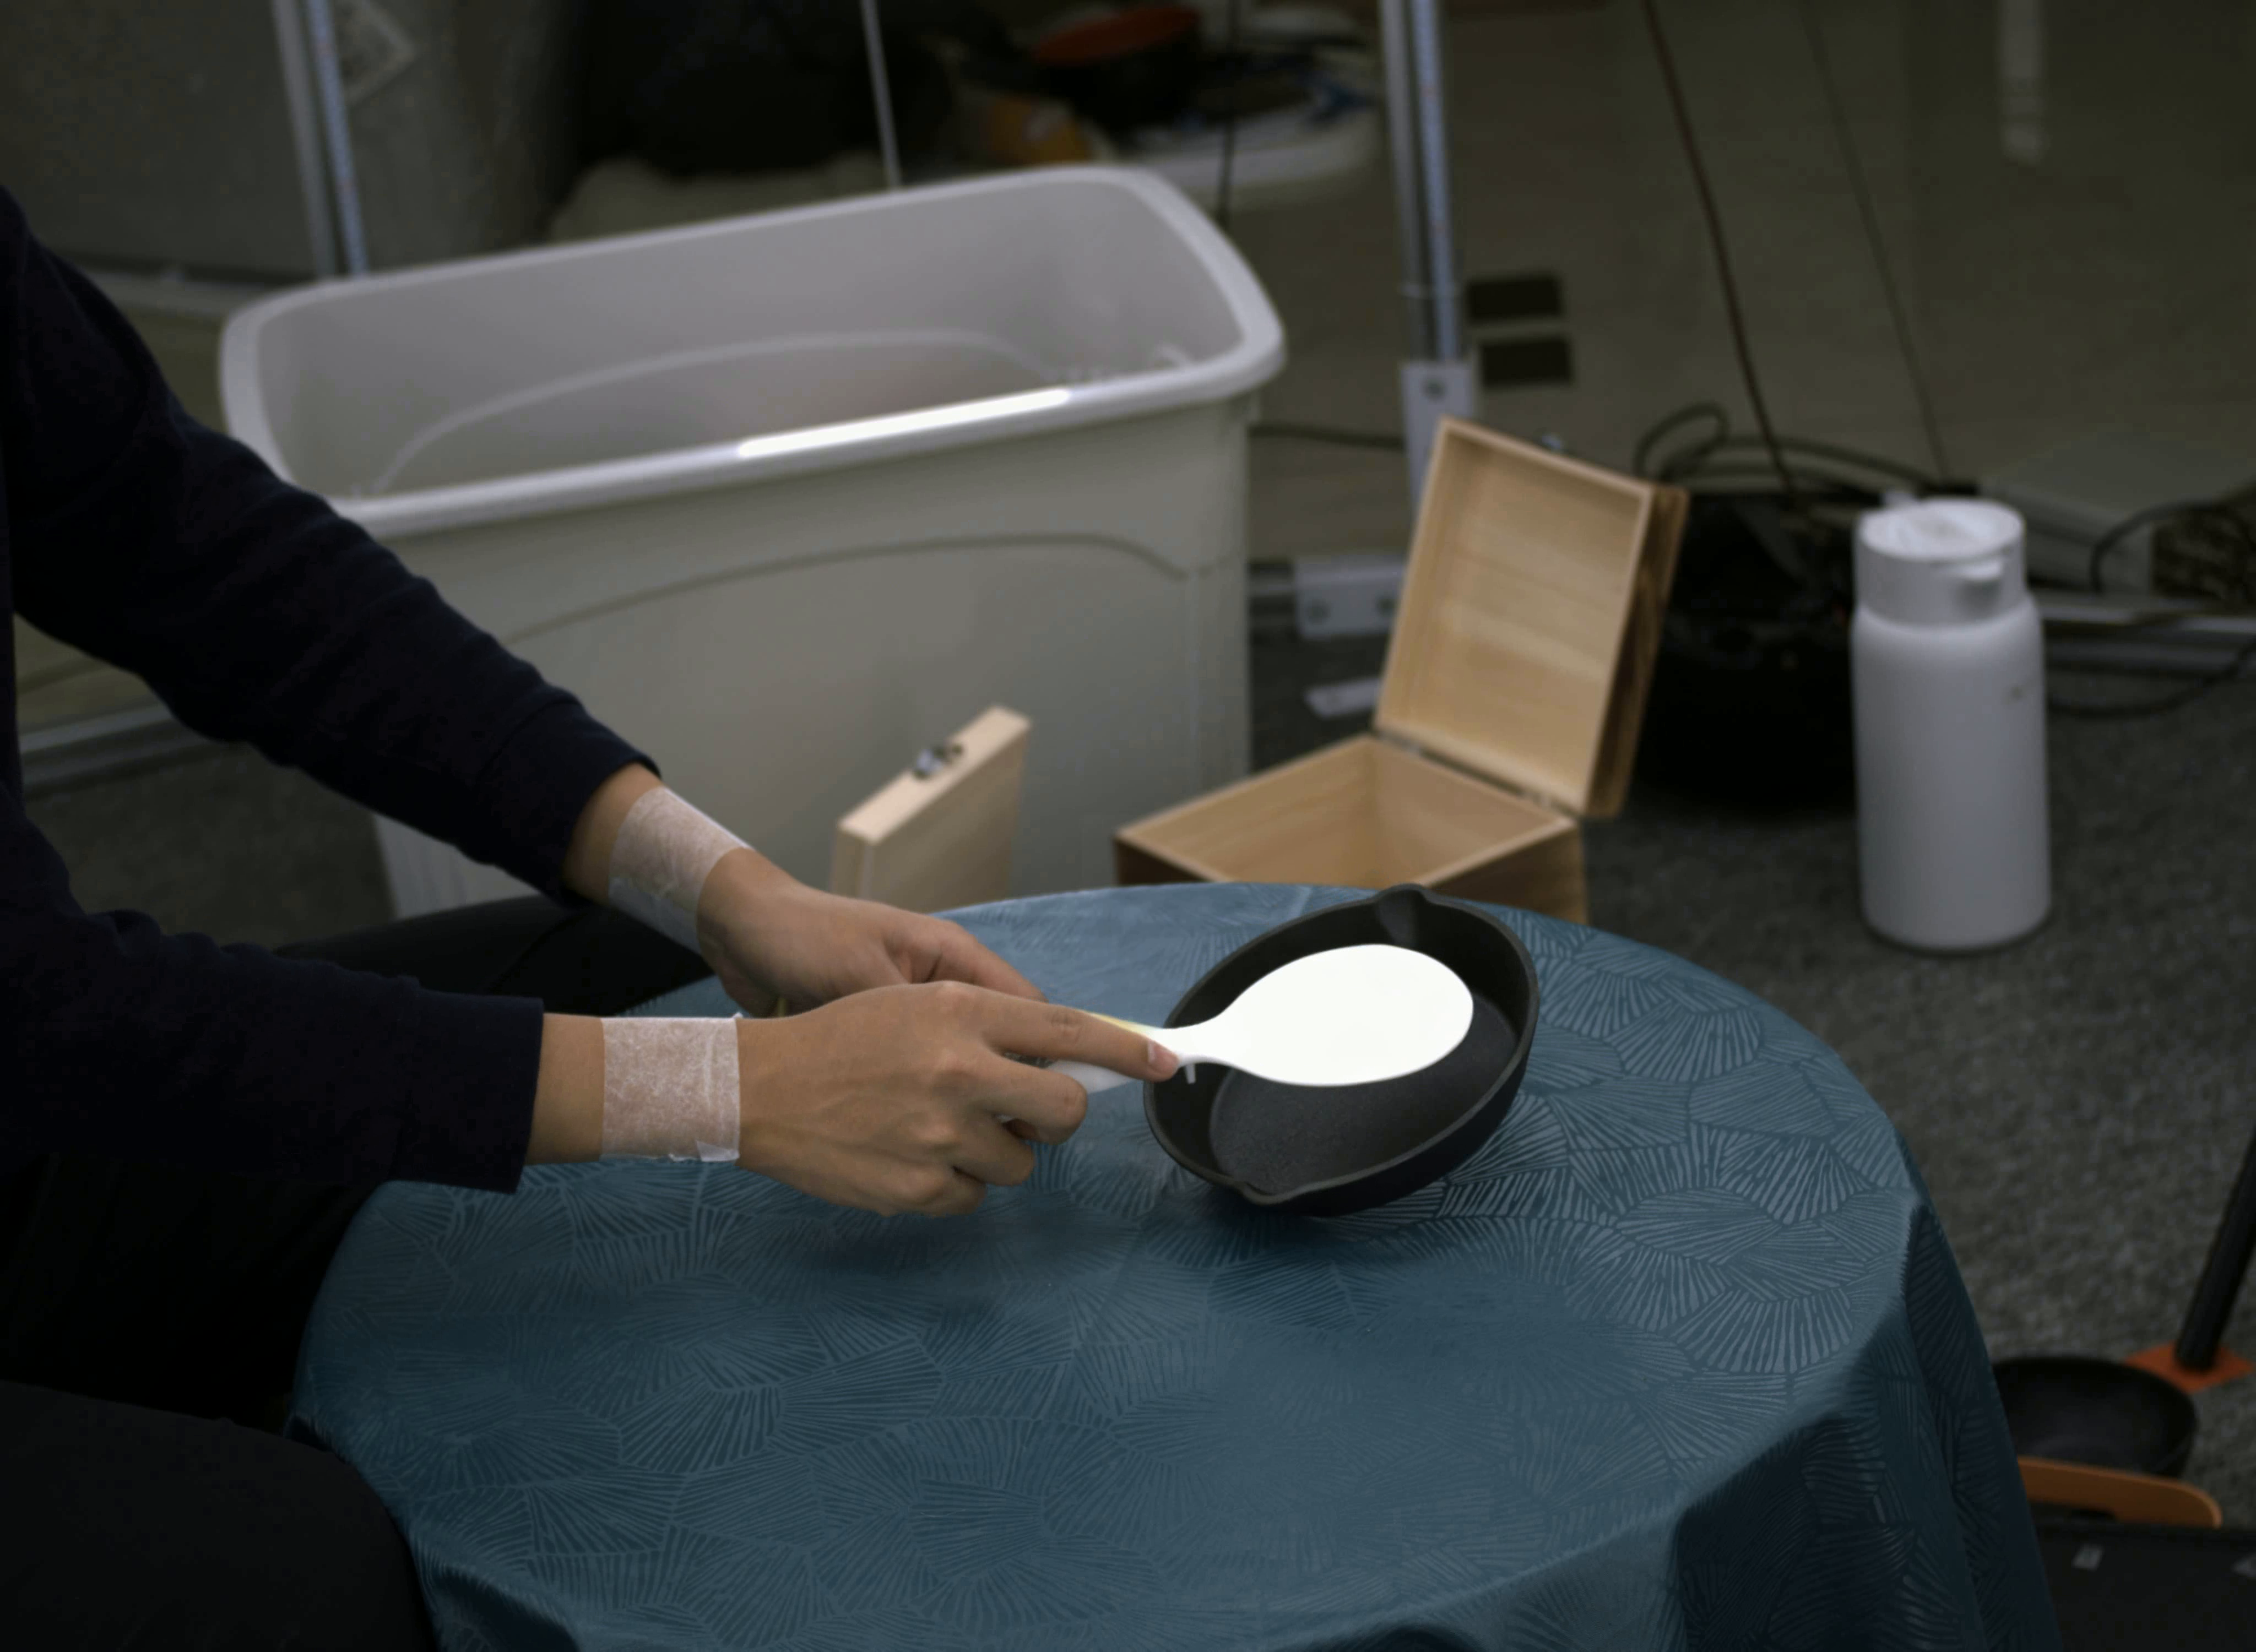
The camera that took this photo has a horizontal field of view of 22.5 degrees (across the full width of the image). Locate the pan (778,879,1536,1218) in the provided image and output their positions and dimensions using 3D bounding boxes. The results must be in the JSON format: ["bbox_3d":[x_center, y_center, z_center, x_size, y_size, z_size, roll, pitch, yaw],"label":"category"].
[{"bbox_3d":[0.009,0.084,2.179,0.323,0.050,0.166,2,46,30],"label":"pan"}]

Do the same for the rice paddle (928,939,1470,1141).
[{"bbox_3d":[0.028,0.080,2.109,0.205,0.030,0.067,-12,47,-6],"label":"rice paddle"}]
